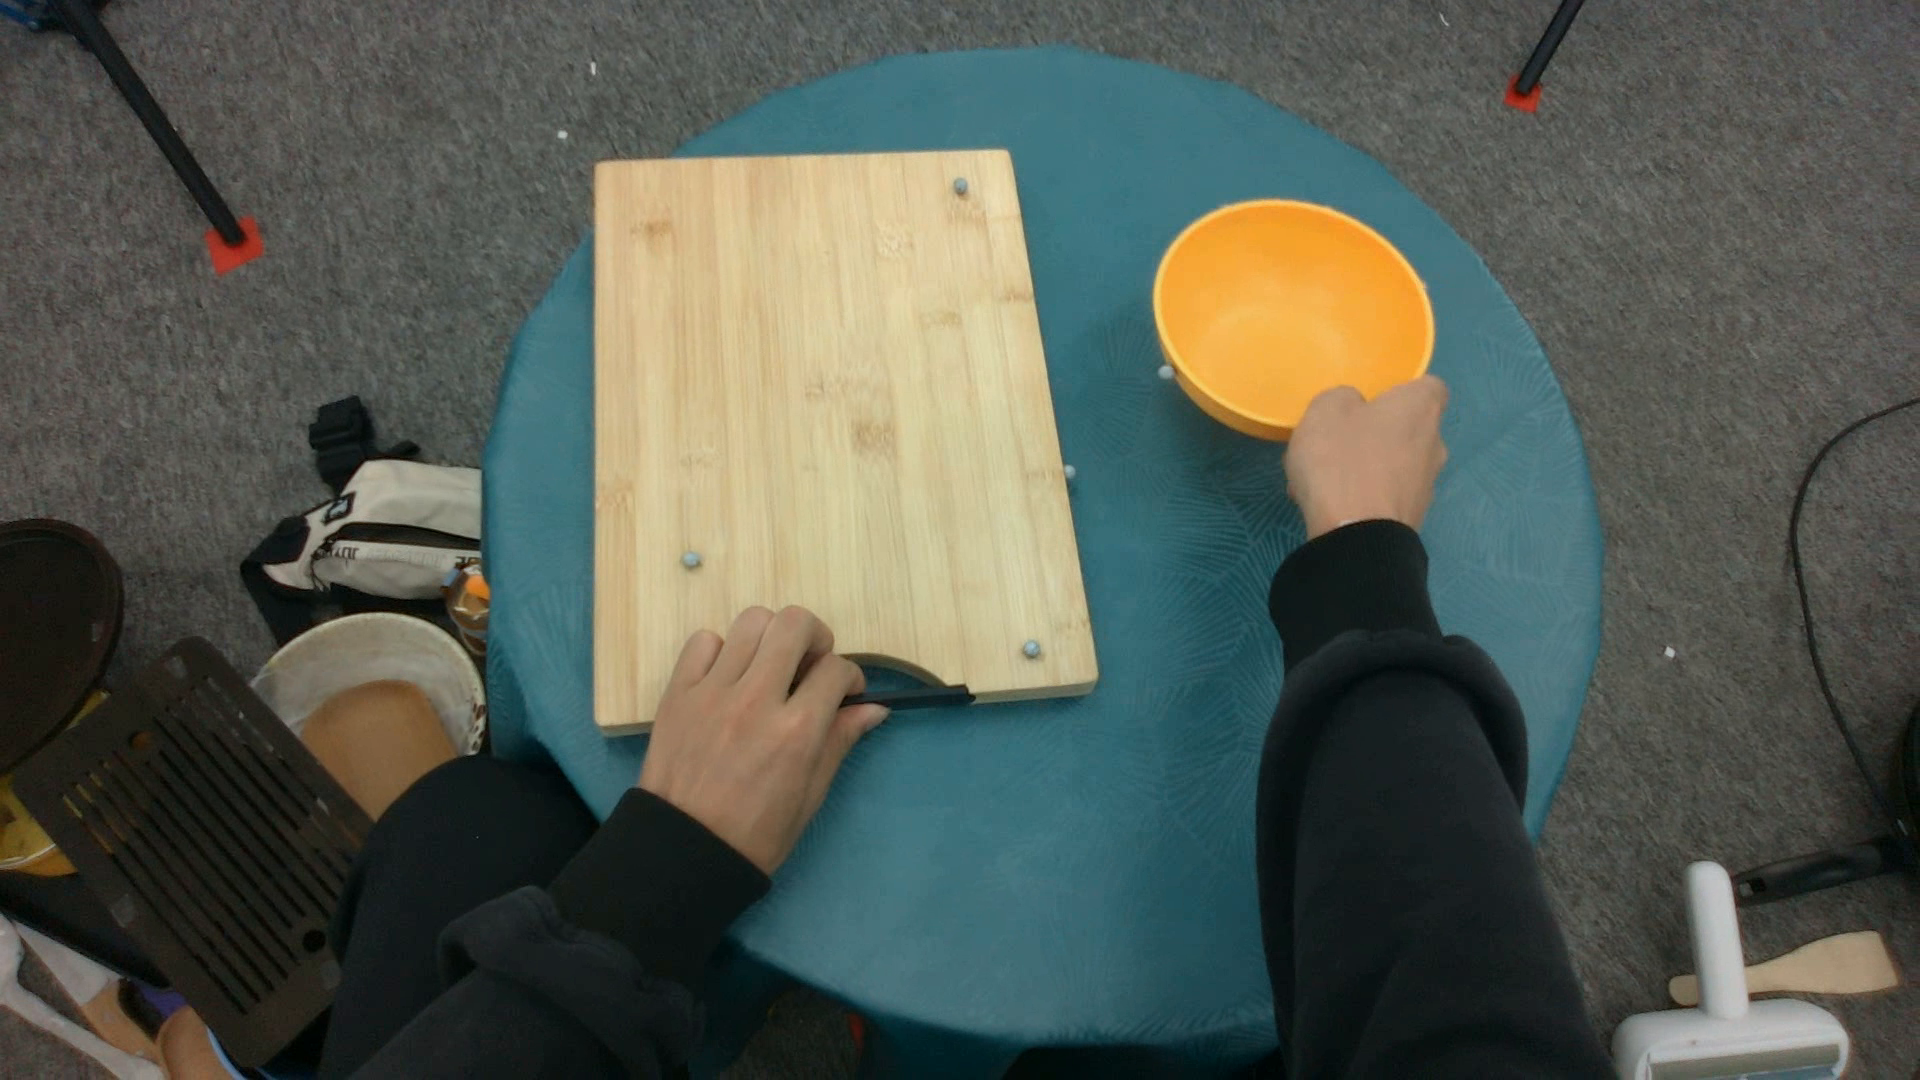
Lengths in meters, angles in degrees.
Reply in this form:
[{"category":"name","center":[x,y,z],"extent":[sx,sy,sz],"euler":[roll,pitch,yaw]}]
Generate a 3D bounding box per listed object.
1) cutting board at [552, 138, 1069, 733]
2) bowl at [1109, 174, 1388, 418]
[{"category":"cutting board","center":[-0.089,-0.075,0.727],"extent":[0.251,0.023,0.350],"euler":[-5,64,-9]},{"category":"bowl","center":[0.146,-0.119,0.731],"extent":[0.145,0.060,0.146],"euler":[2,65,-4]}]
